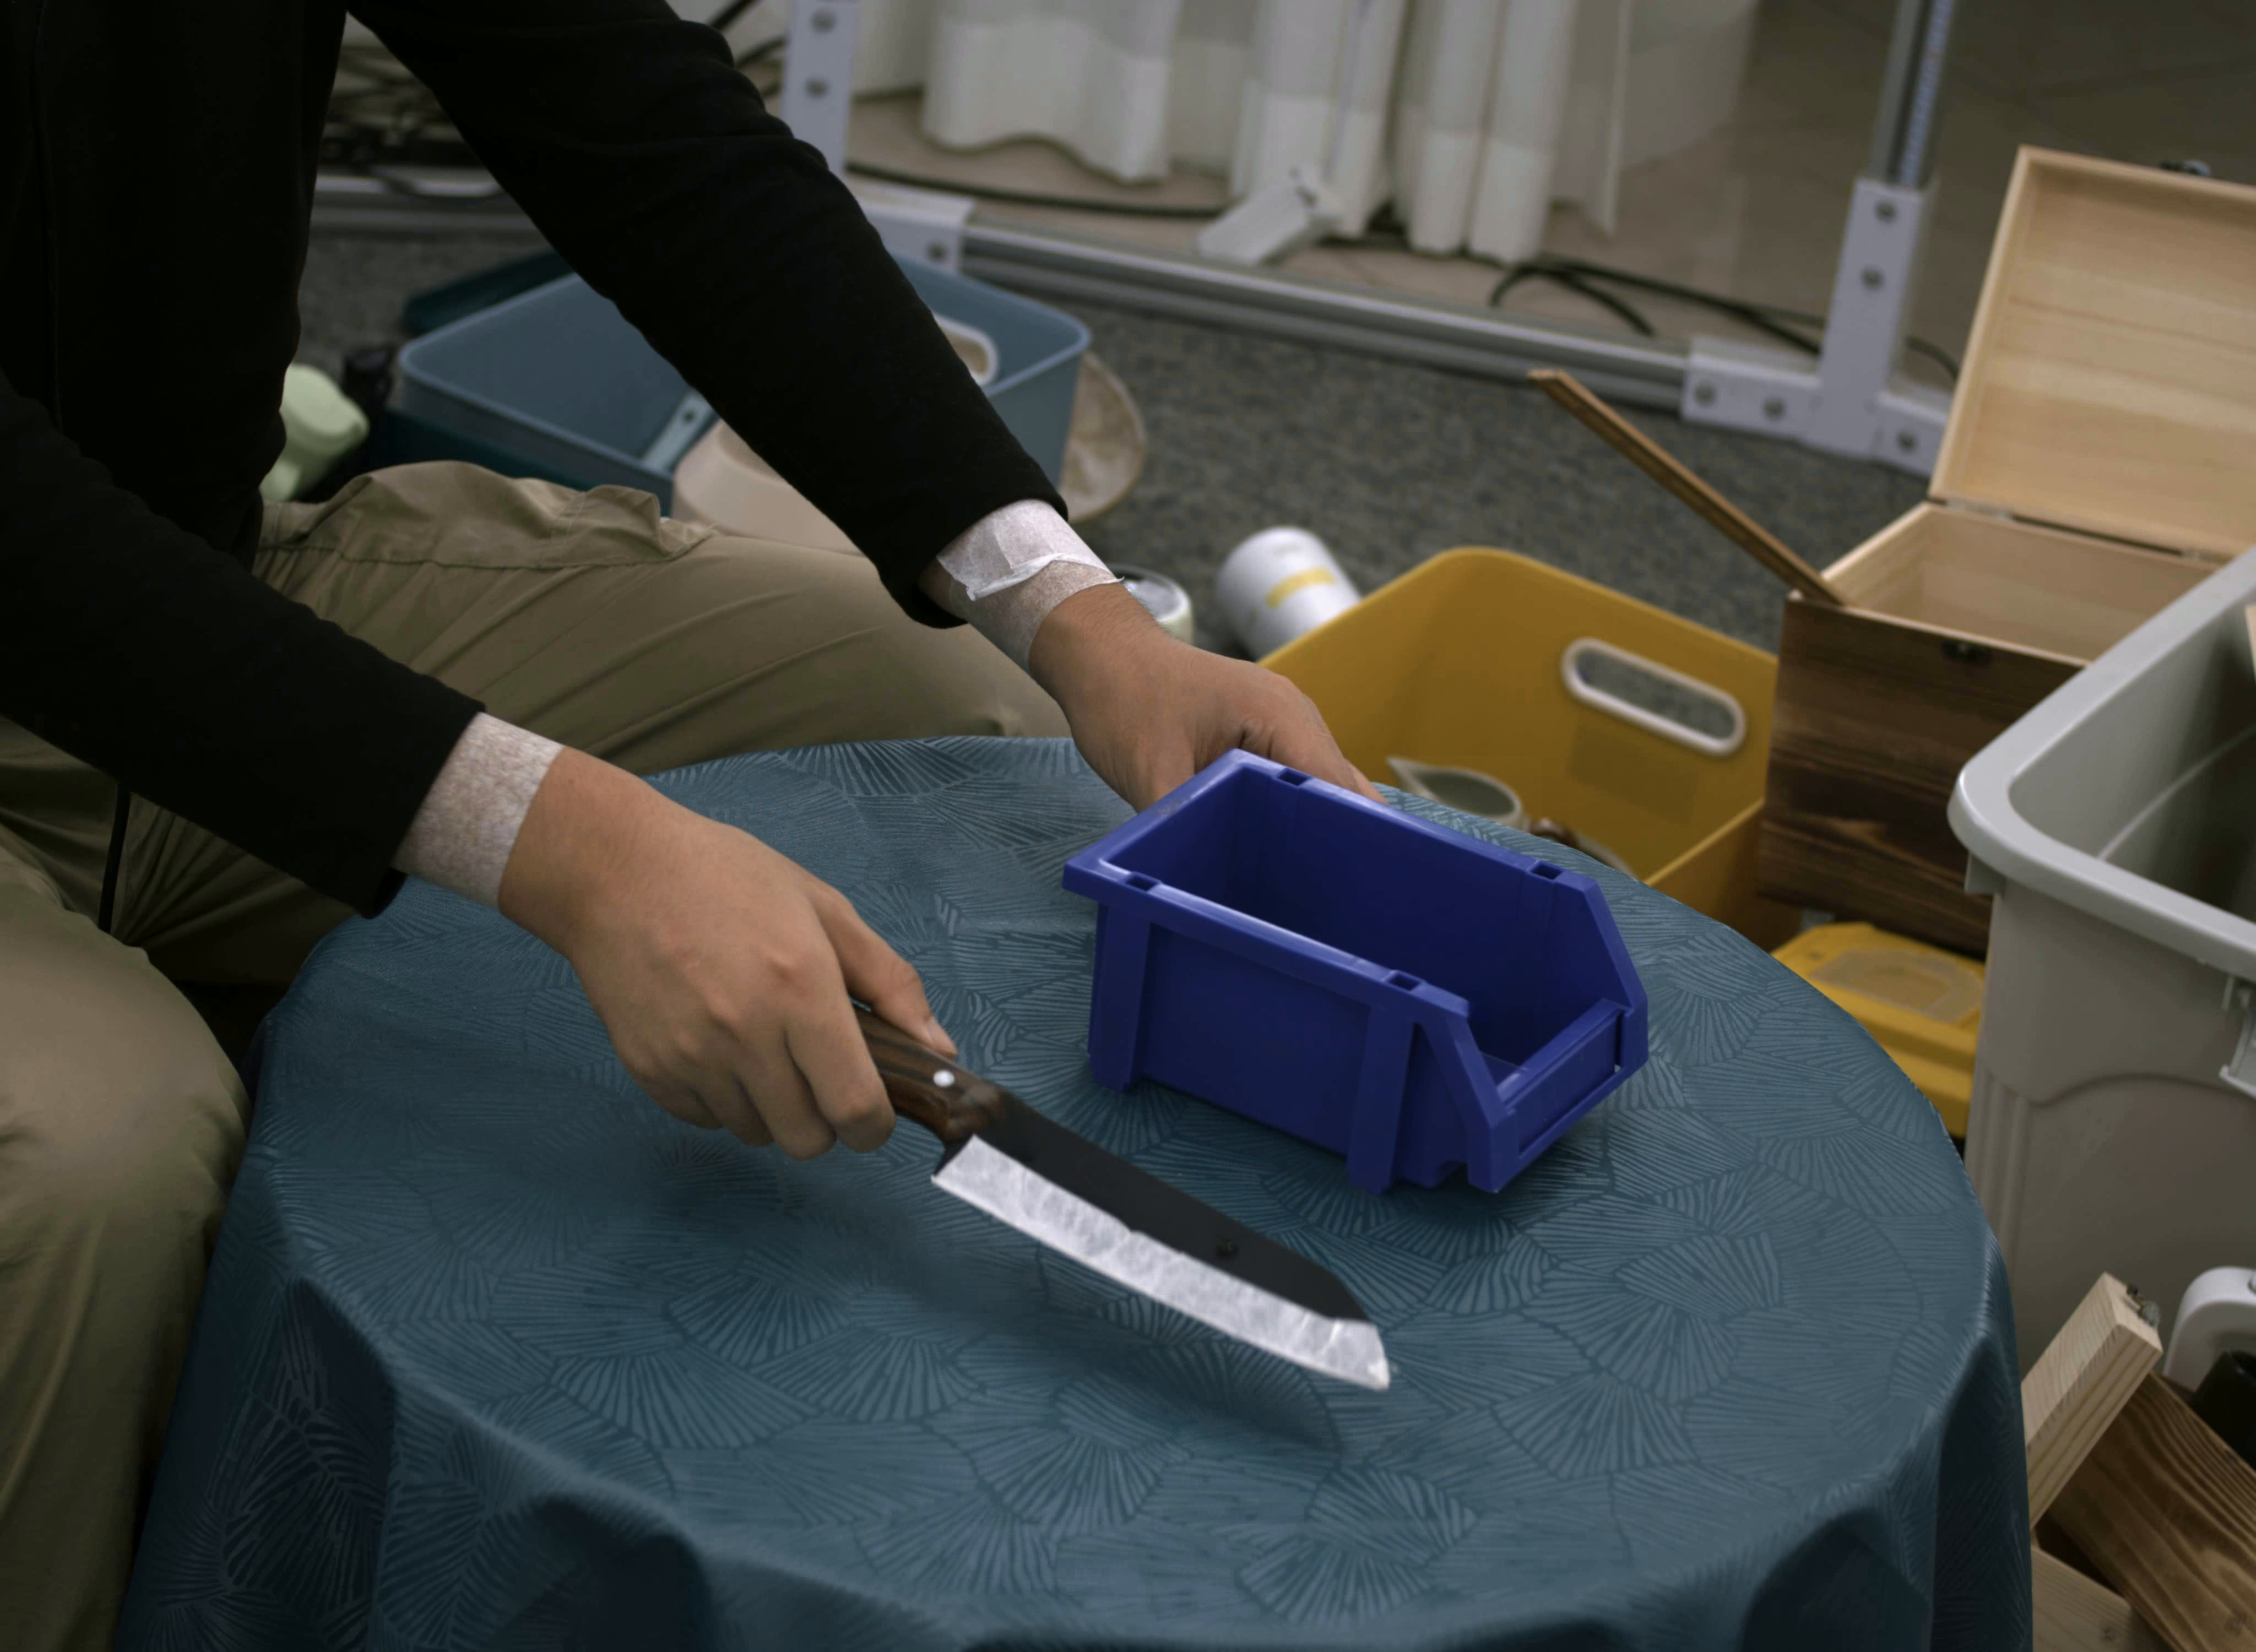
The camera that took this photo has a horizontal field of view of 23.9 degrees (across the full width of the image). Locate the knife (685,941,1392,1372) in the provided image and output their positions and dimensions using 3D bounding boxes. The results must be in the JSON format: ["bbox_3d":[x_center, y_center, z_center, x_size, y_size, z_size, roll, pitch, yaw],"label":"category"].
[{"bbox_3d":[-0.033,0.107,1.724,0.291,0.020,0.050,28,51,26],"label":"knife"}]

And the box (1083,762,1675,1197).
[{"bbox_3d":[0.089,0.057,1.863,0.180,0.081,0.124,19,29,28],"label":"box"}]
